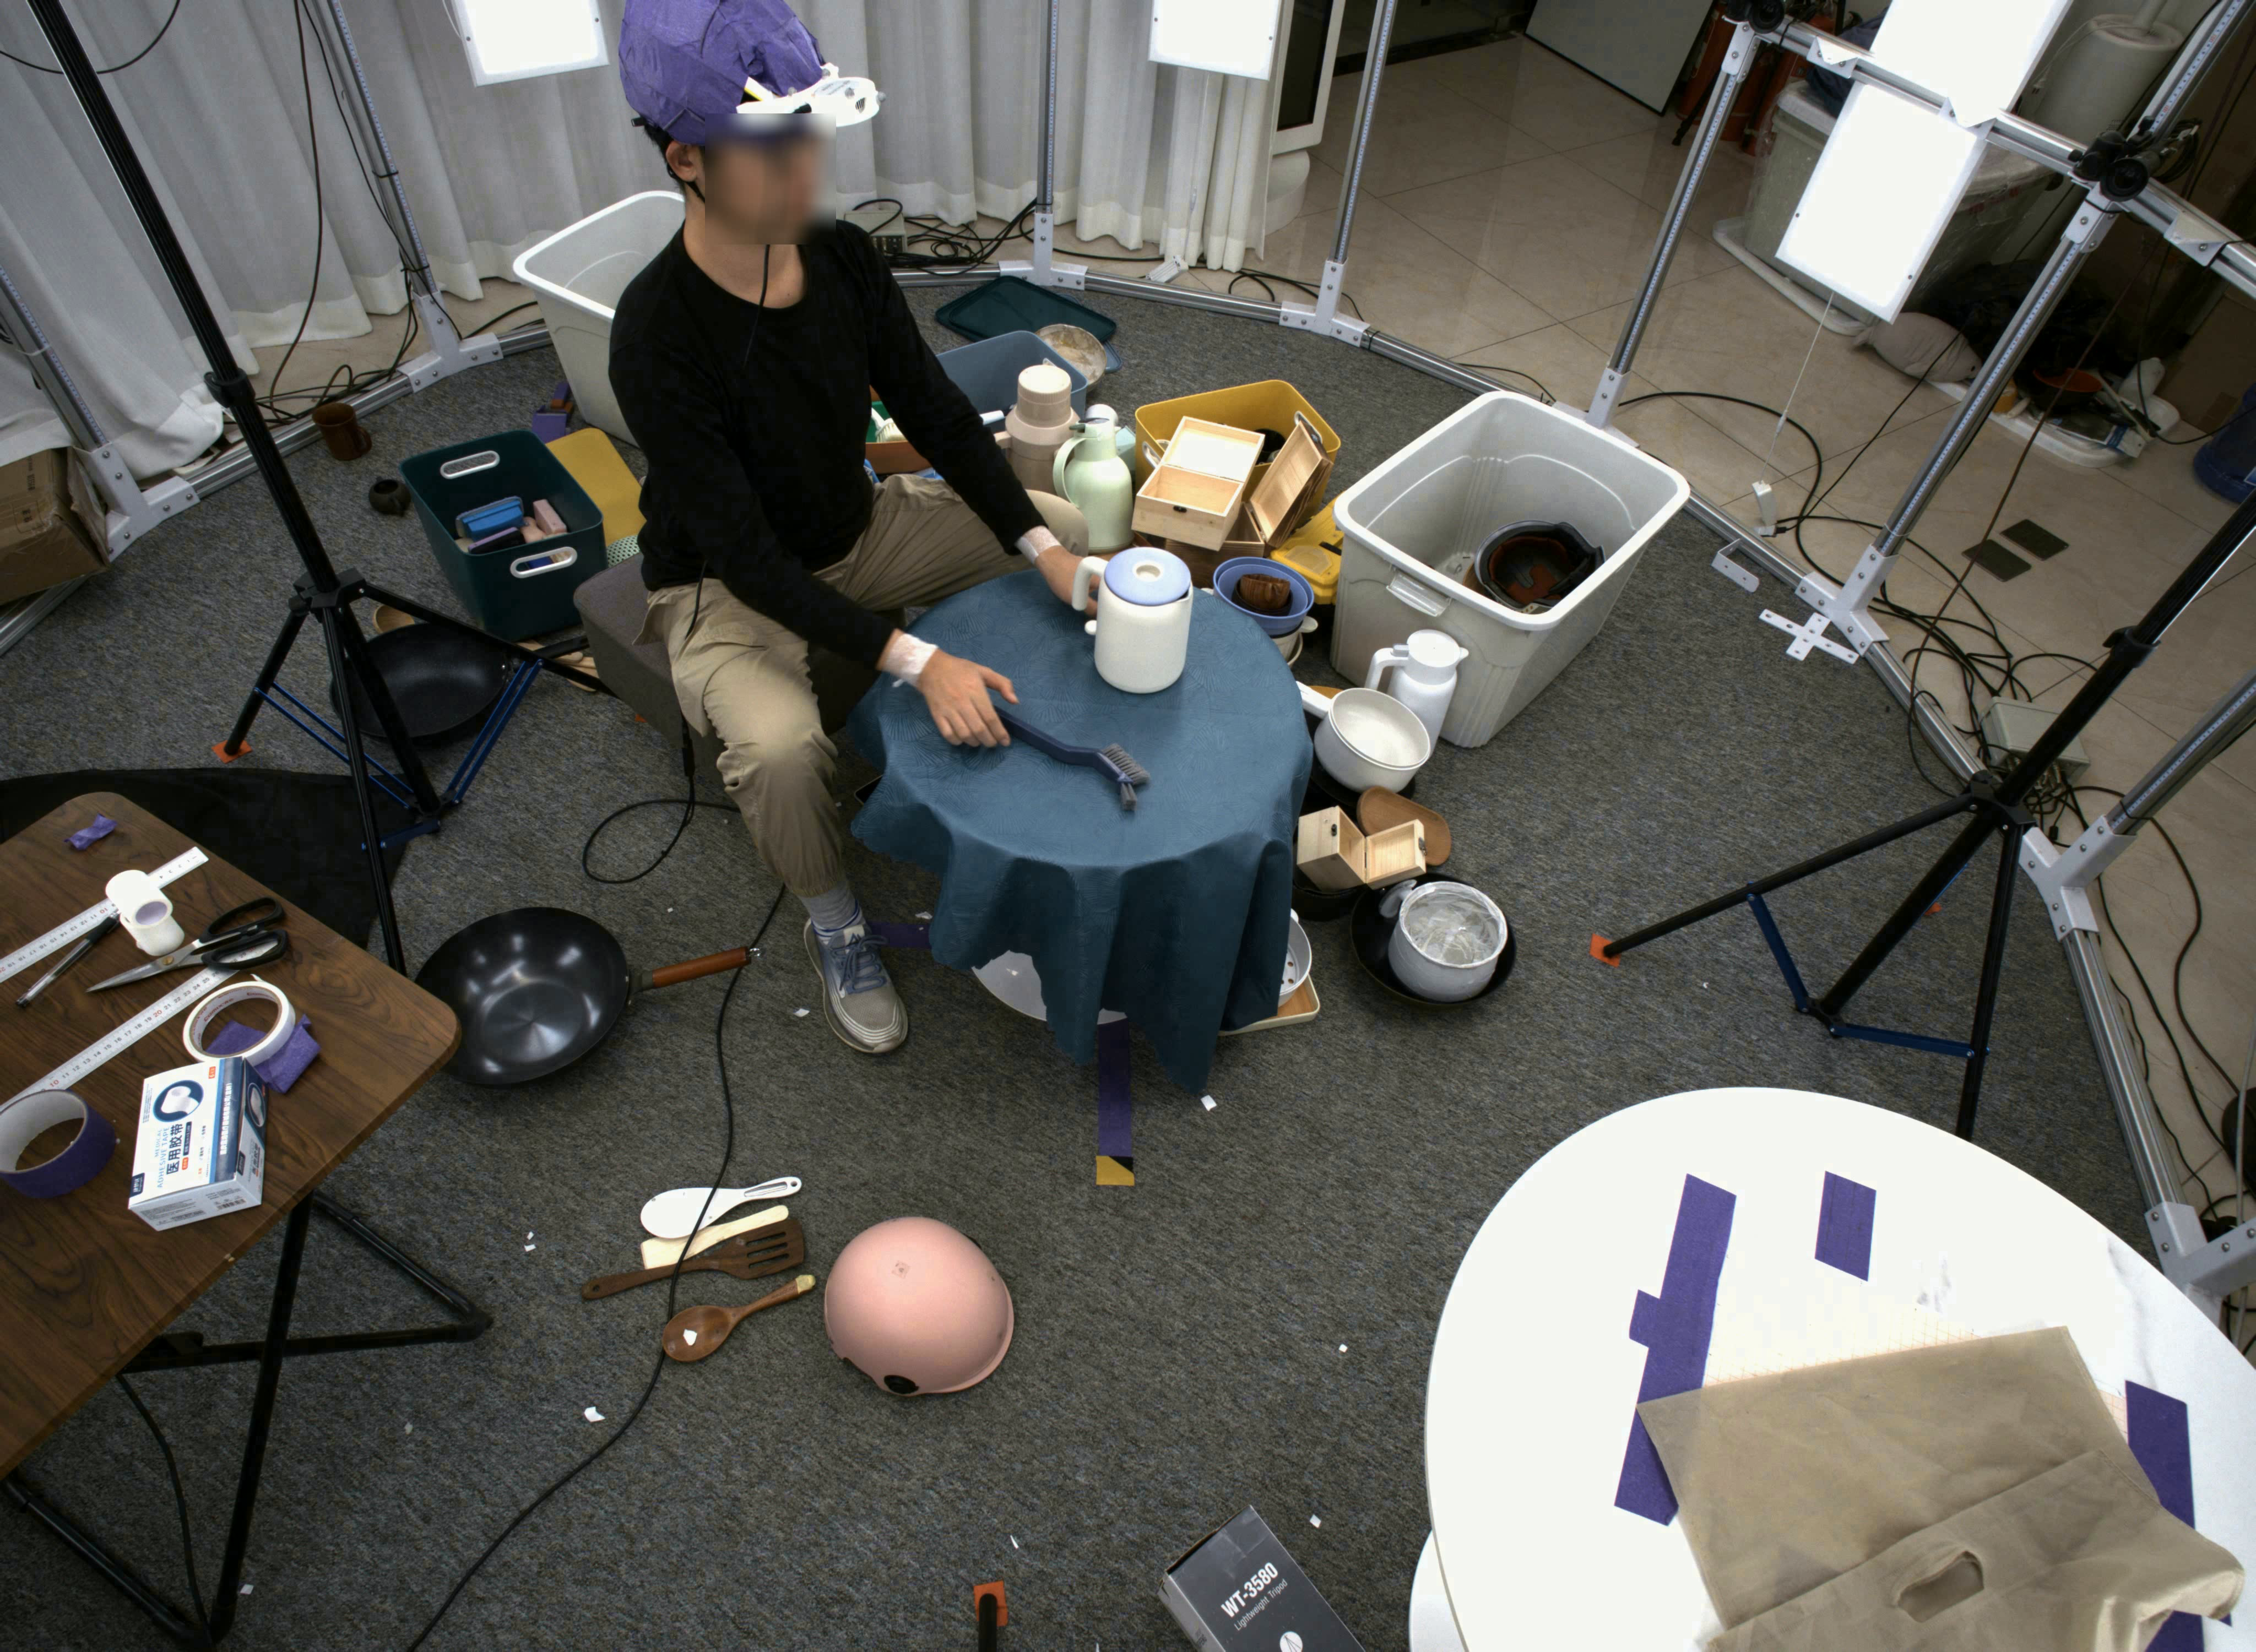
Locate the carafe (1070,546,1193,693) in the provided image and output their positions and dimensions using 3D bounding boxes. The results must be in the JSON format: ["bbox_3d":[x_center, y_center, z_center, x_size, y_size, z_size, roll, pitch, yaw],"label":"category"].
[{"bbox_3d":[0.001,-0.301,1.820,0.193,0.178,0.134,27,52,19],"label":"carafe"}]

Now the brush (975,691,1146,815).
[{"bbox_3d":[-0.103,-0.104,1.734,0.275,0.033,0.097,23,54,15],"label":"brush"}]
